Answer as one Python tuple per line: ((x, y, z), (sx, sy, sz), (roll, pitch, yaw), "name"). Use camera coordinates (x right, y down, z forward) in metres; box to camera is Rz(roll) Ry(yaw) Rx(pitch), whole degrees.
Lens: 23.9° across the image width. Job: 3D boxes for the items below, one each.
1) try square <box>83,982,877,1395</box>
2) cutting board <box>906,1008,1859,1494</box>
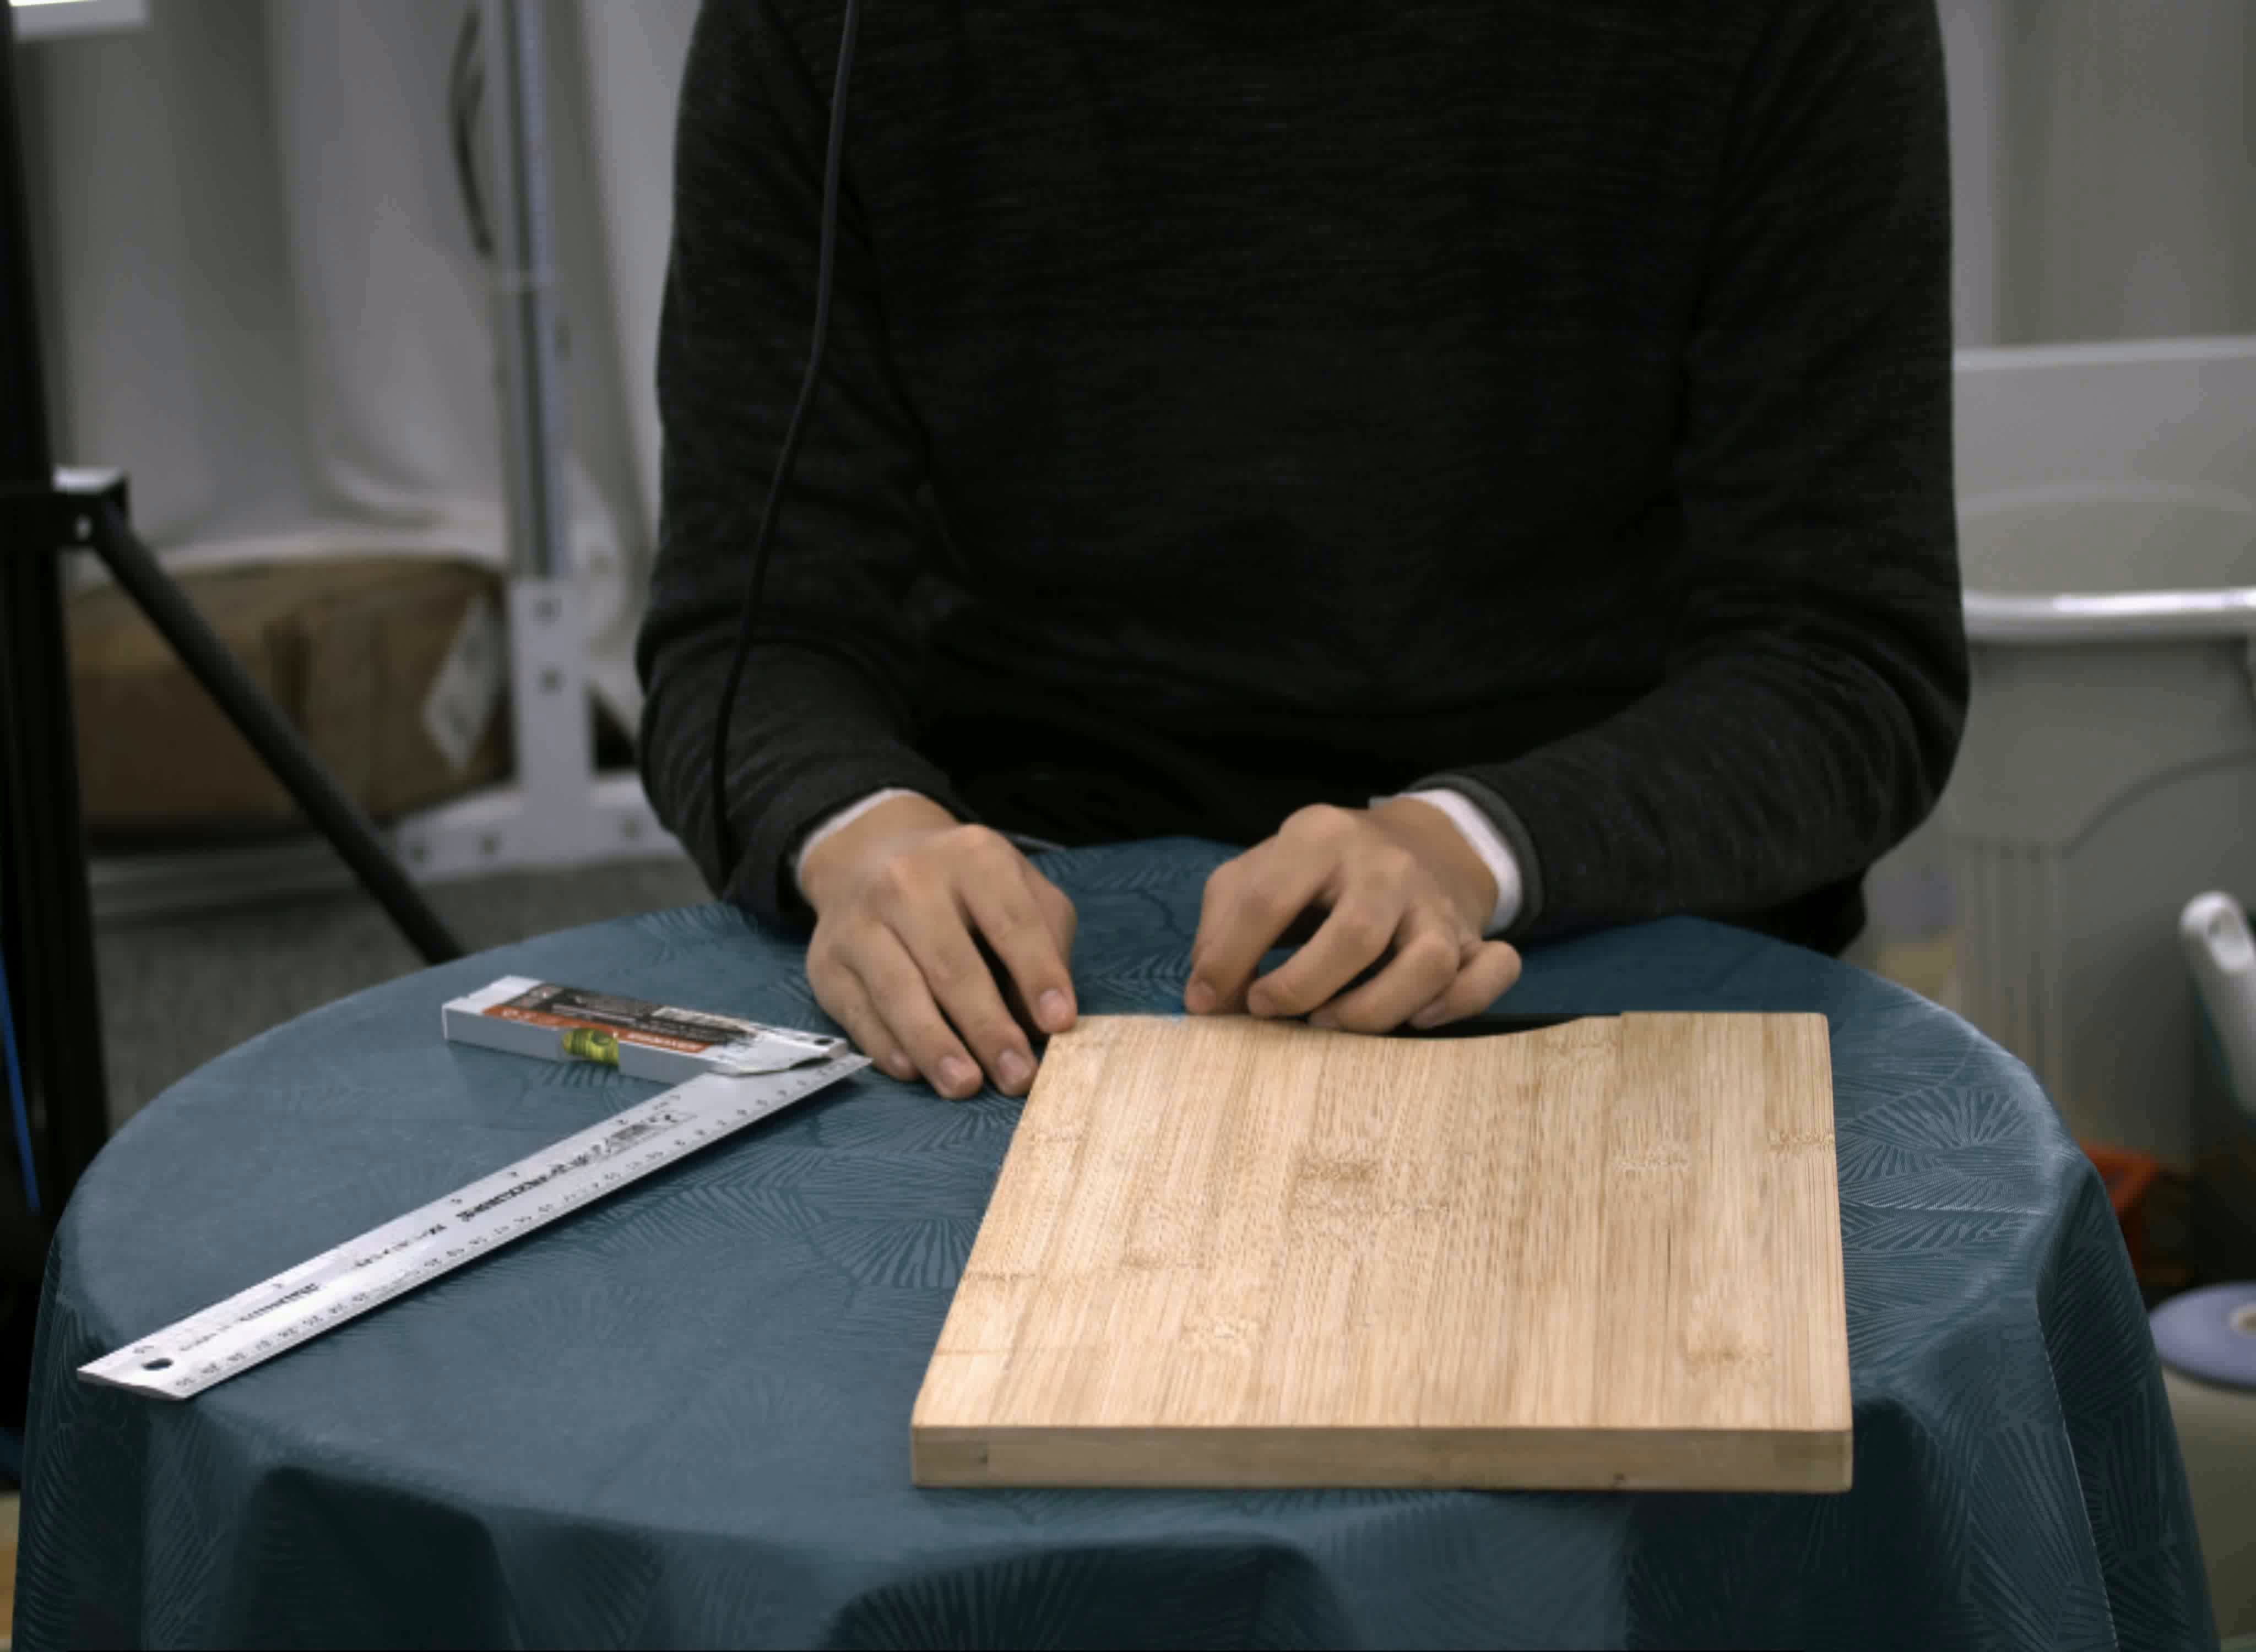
((-0.225, 0.104, 1.595), (0.155, 0.016, 0.306), (8, 20, 35), "try square")
((0.082, 0.113, 1.496), (0.251, 0.023, 0.348), (-1, 16, 6), "cutting board")
